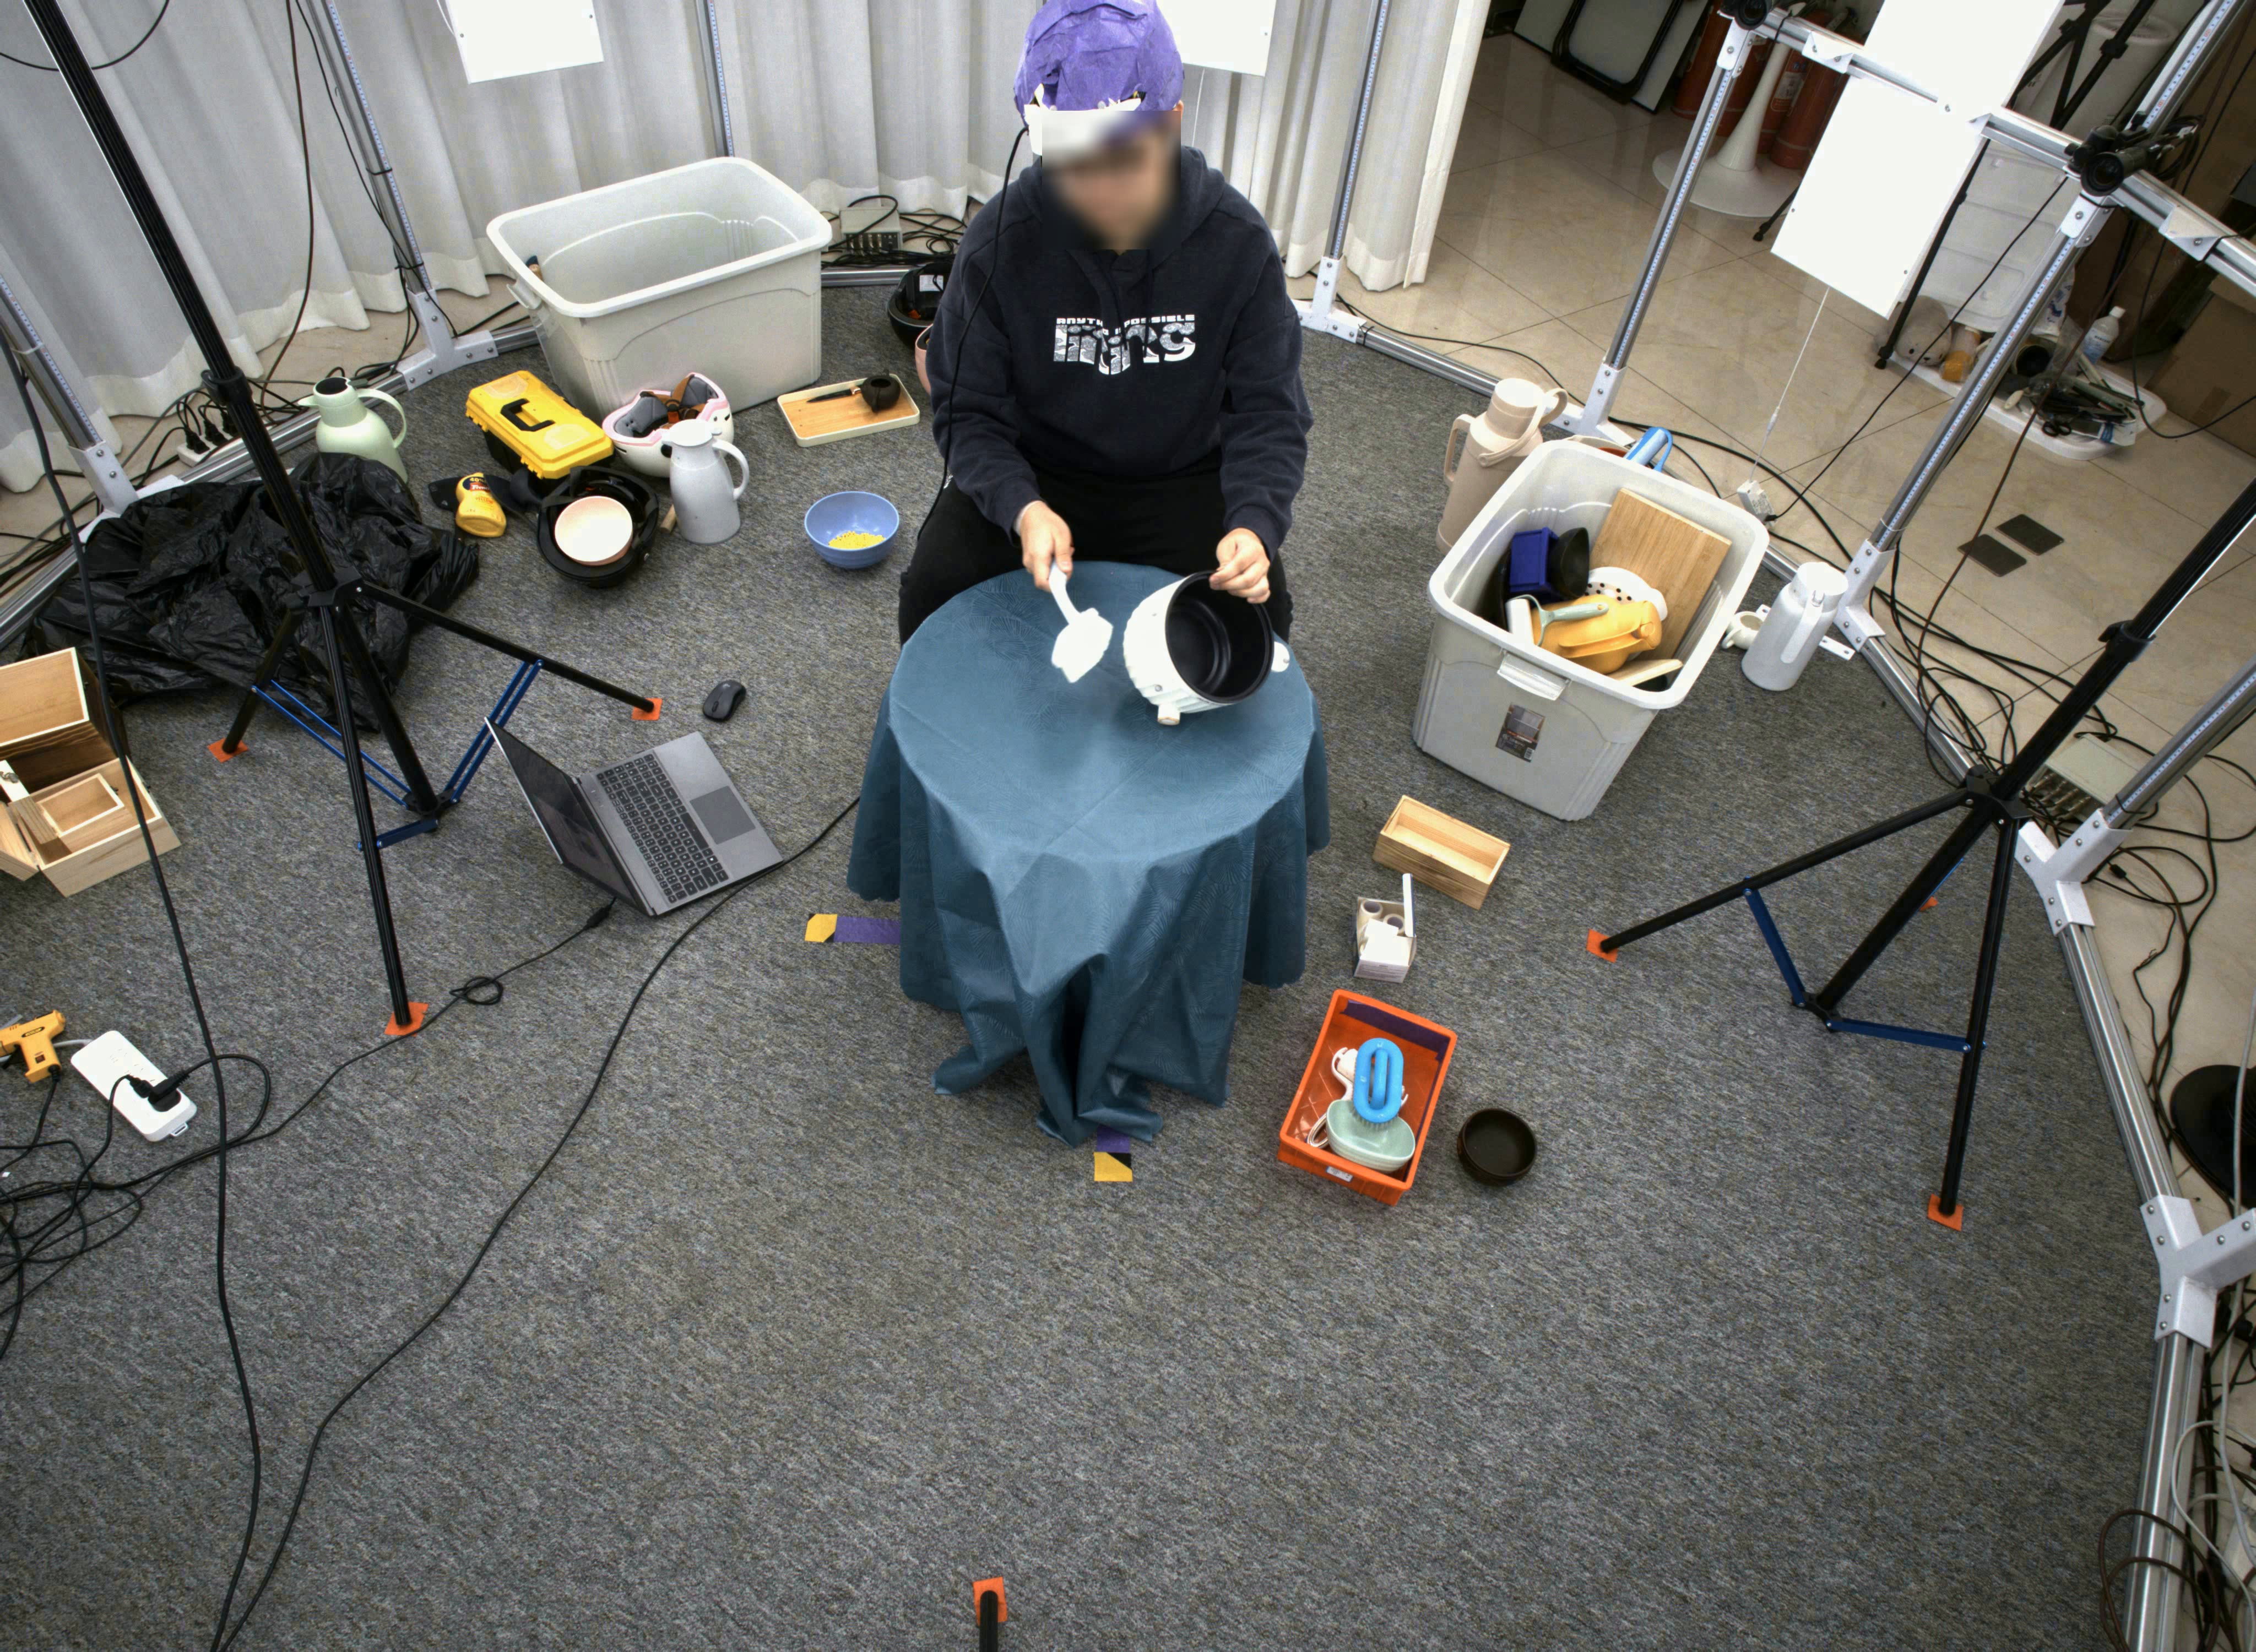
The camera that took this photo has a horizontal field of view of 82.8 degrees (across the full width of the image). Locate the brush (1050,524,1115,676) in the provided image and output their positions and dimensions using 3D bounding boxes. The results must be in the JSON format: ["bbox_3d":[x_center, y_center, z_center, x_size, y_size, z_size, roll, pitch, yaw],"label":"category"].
[{"bbox_3d":[-0.062,-0.318,1.812,0.083,0.082,0.334,-9,42,3],"label":"brush"}]

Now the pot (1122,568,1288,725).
[{"bbox_3d":[0.089,-0.242,1.765,0.238,0.142,0.193,13,73,-29],"label":"pot"}]
